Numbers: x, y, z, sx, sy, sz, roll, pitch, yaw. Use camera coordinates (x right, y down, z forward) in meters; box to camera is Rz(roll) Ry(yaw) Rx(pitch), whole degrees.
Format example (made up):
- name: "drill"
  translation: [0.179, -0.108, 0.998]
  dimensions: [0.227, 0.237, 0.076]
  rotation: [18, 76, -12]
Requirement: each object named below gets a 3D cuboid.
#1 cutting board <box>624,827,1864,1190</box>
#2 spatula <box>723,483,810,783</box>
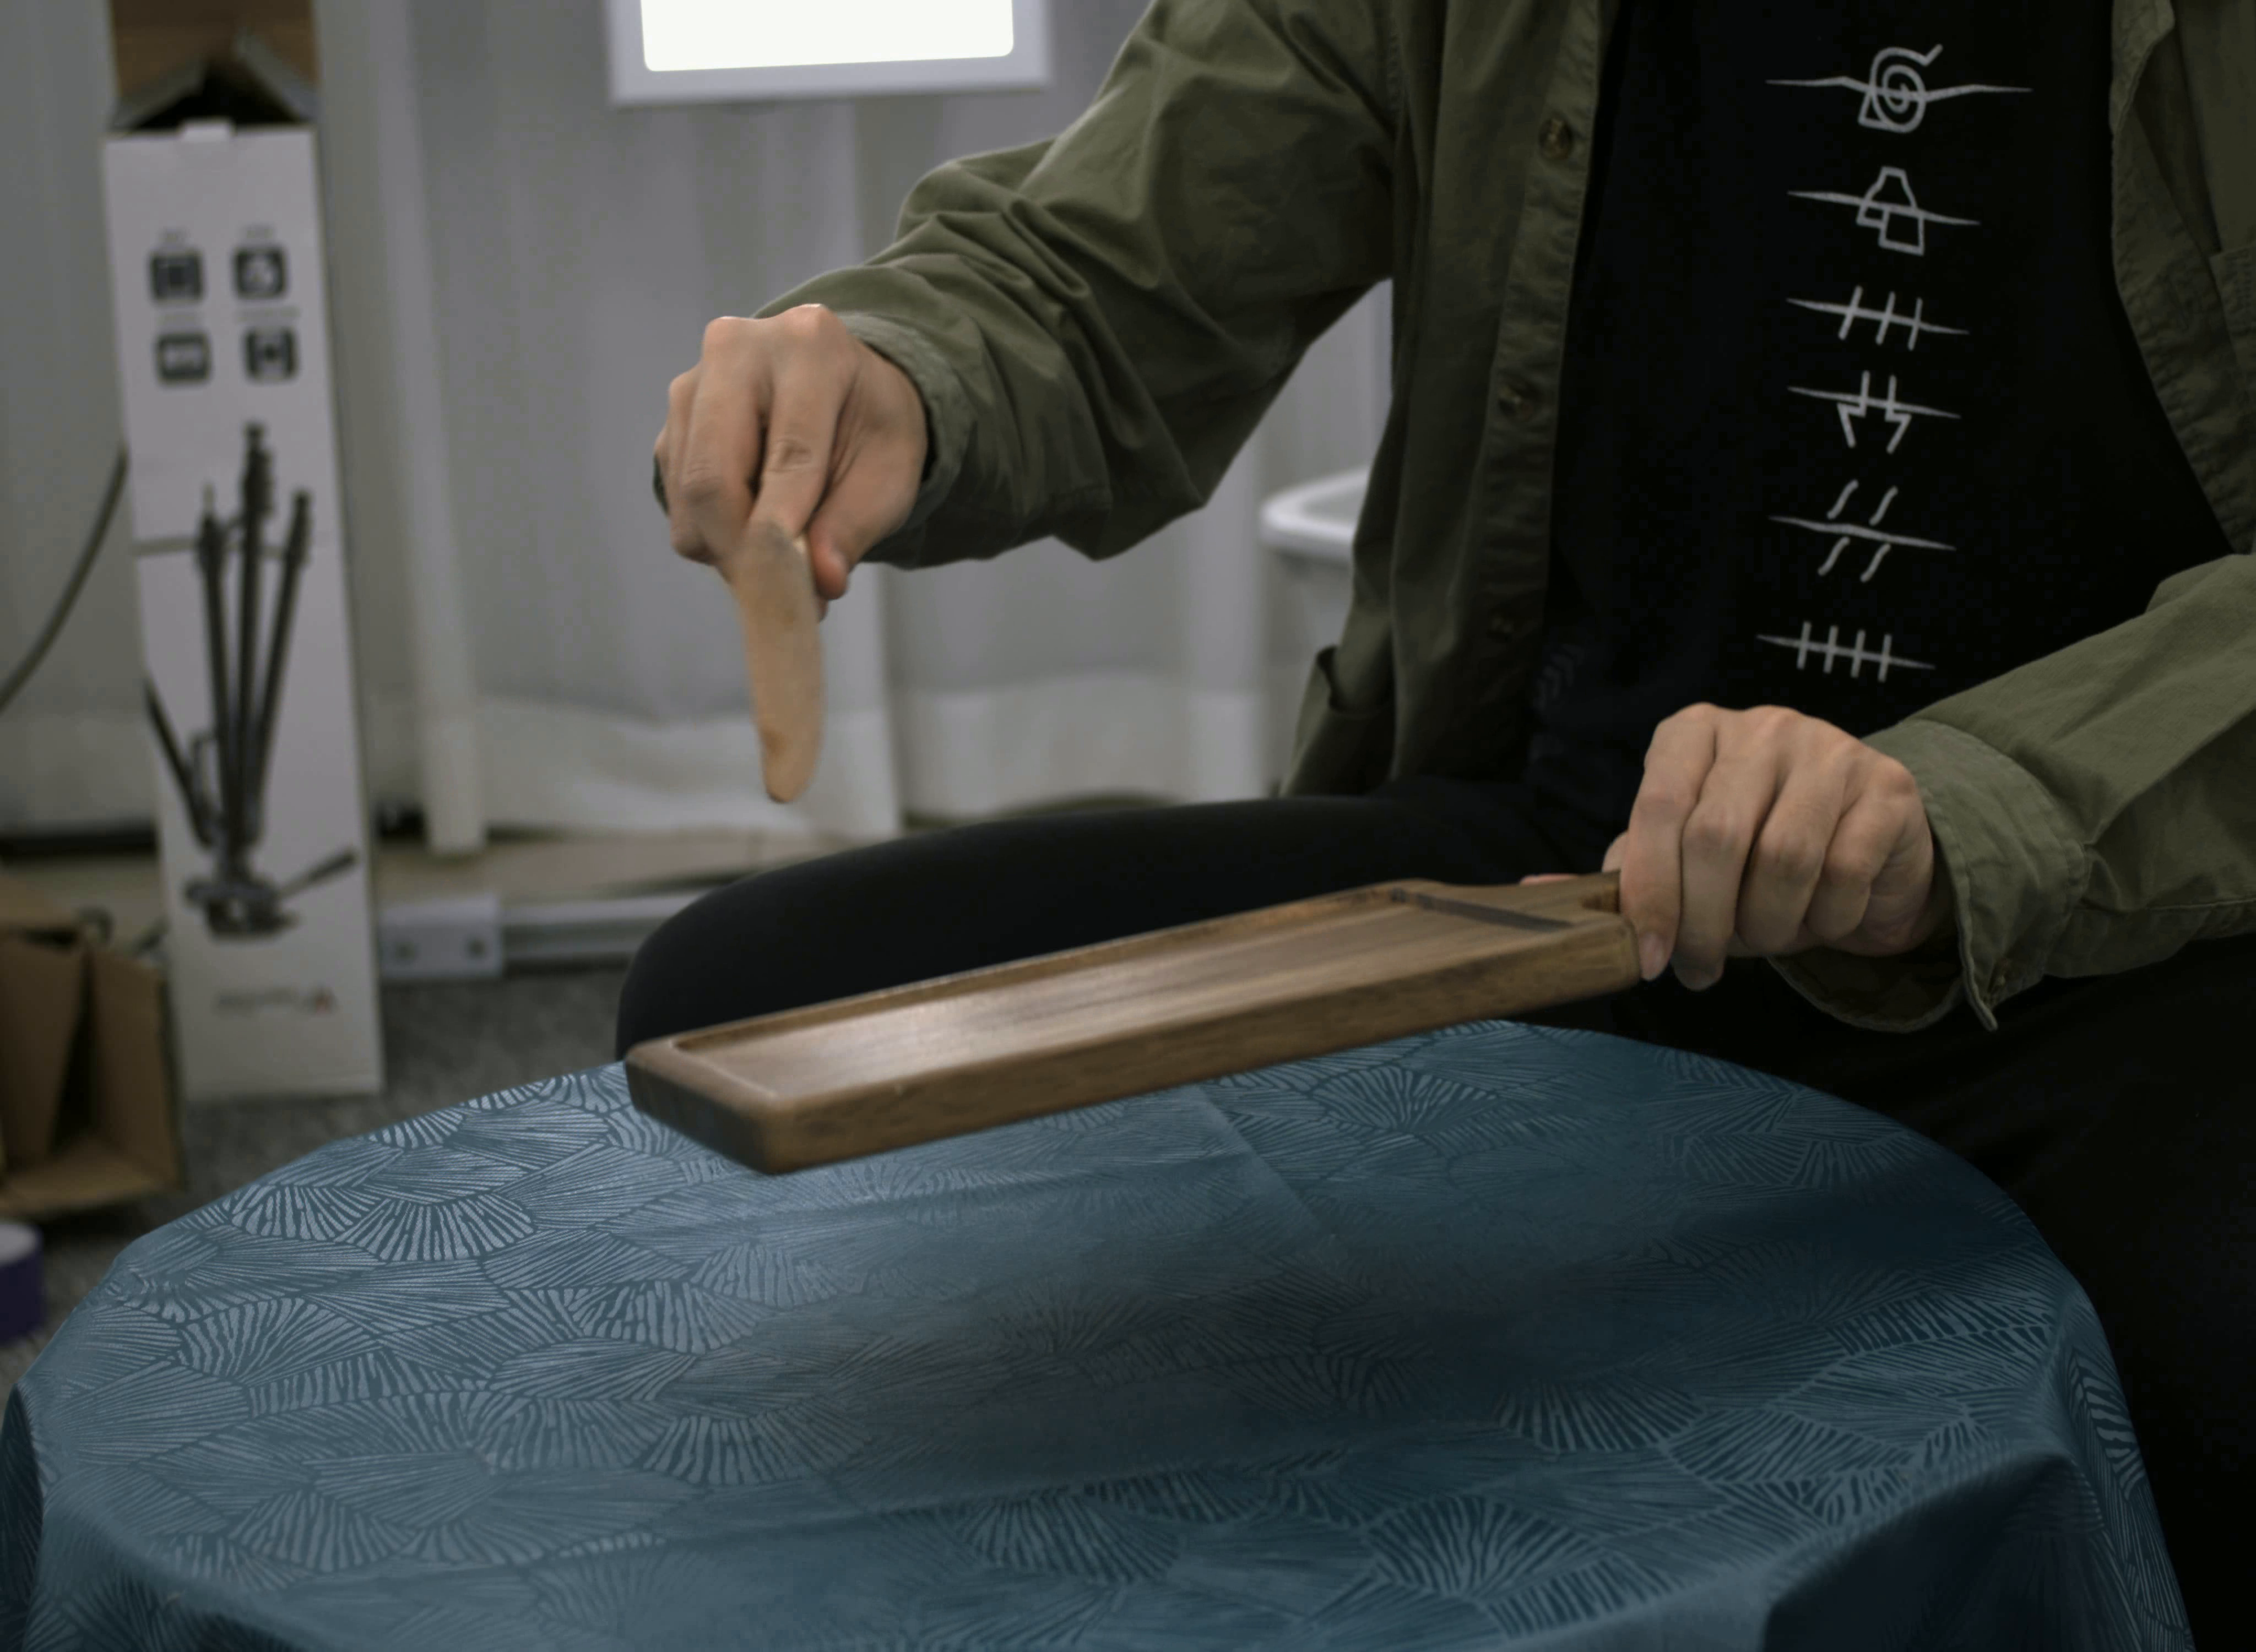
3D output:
- name: "cutting board"
  translation: [0.044, 0.046, 1.536]
  dimensions: [0.351, 0.023, 0.201]
  rotation: [-12, 5, -13]
- name: "spatula"
  translation: [-0.106, -0.075, 1.648]
  dimensions: [0.016, 0.080, 0.329]
  rotation: [-9, 10, -1]
